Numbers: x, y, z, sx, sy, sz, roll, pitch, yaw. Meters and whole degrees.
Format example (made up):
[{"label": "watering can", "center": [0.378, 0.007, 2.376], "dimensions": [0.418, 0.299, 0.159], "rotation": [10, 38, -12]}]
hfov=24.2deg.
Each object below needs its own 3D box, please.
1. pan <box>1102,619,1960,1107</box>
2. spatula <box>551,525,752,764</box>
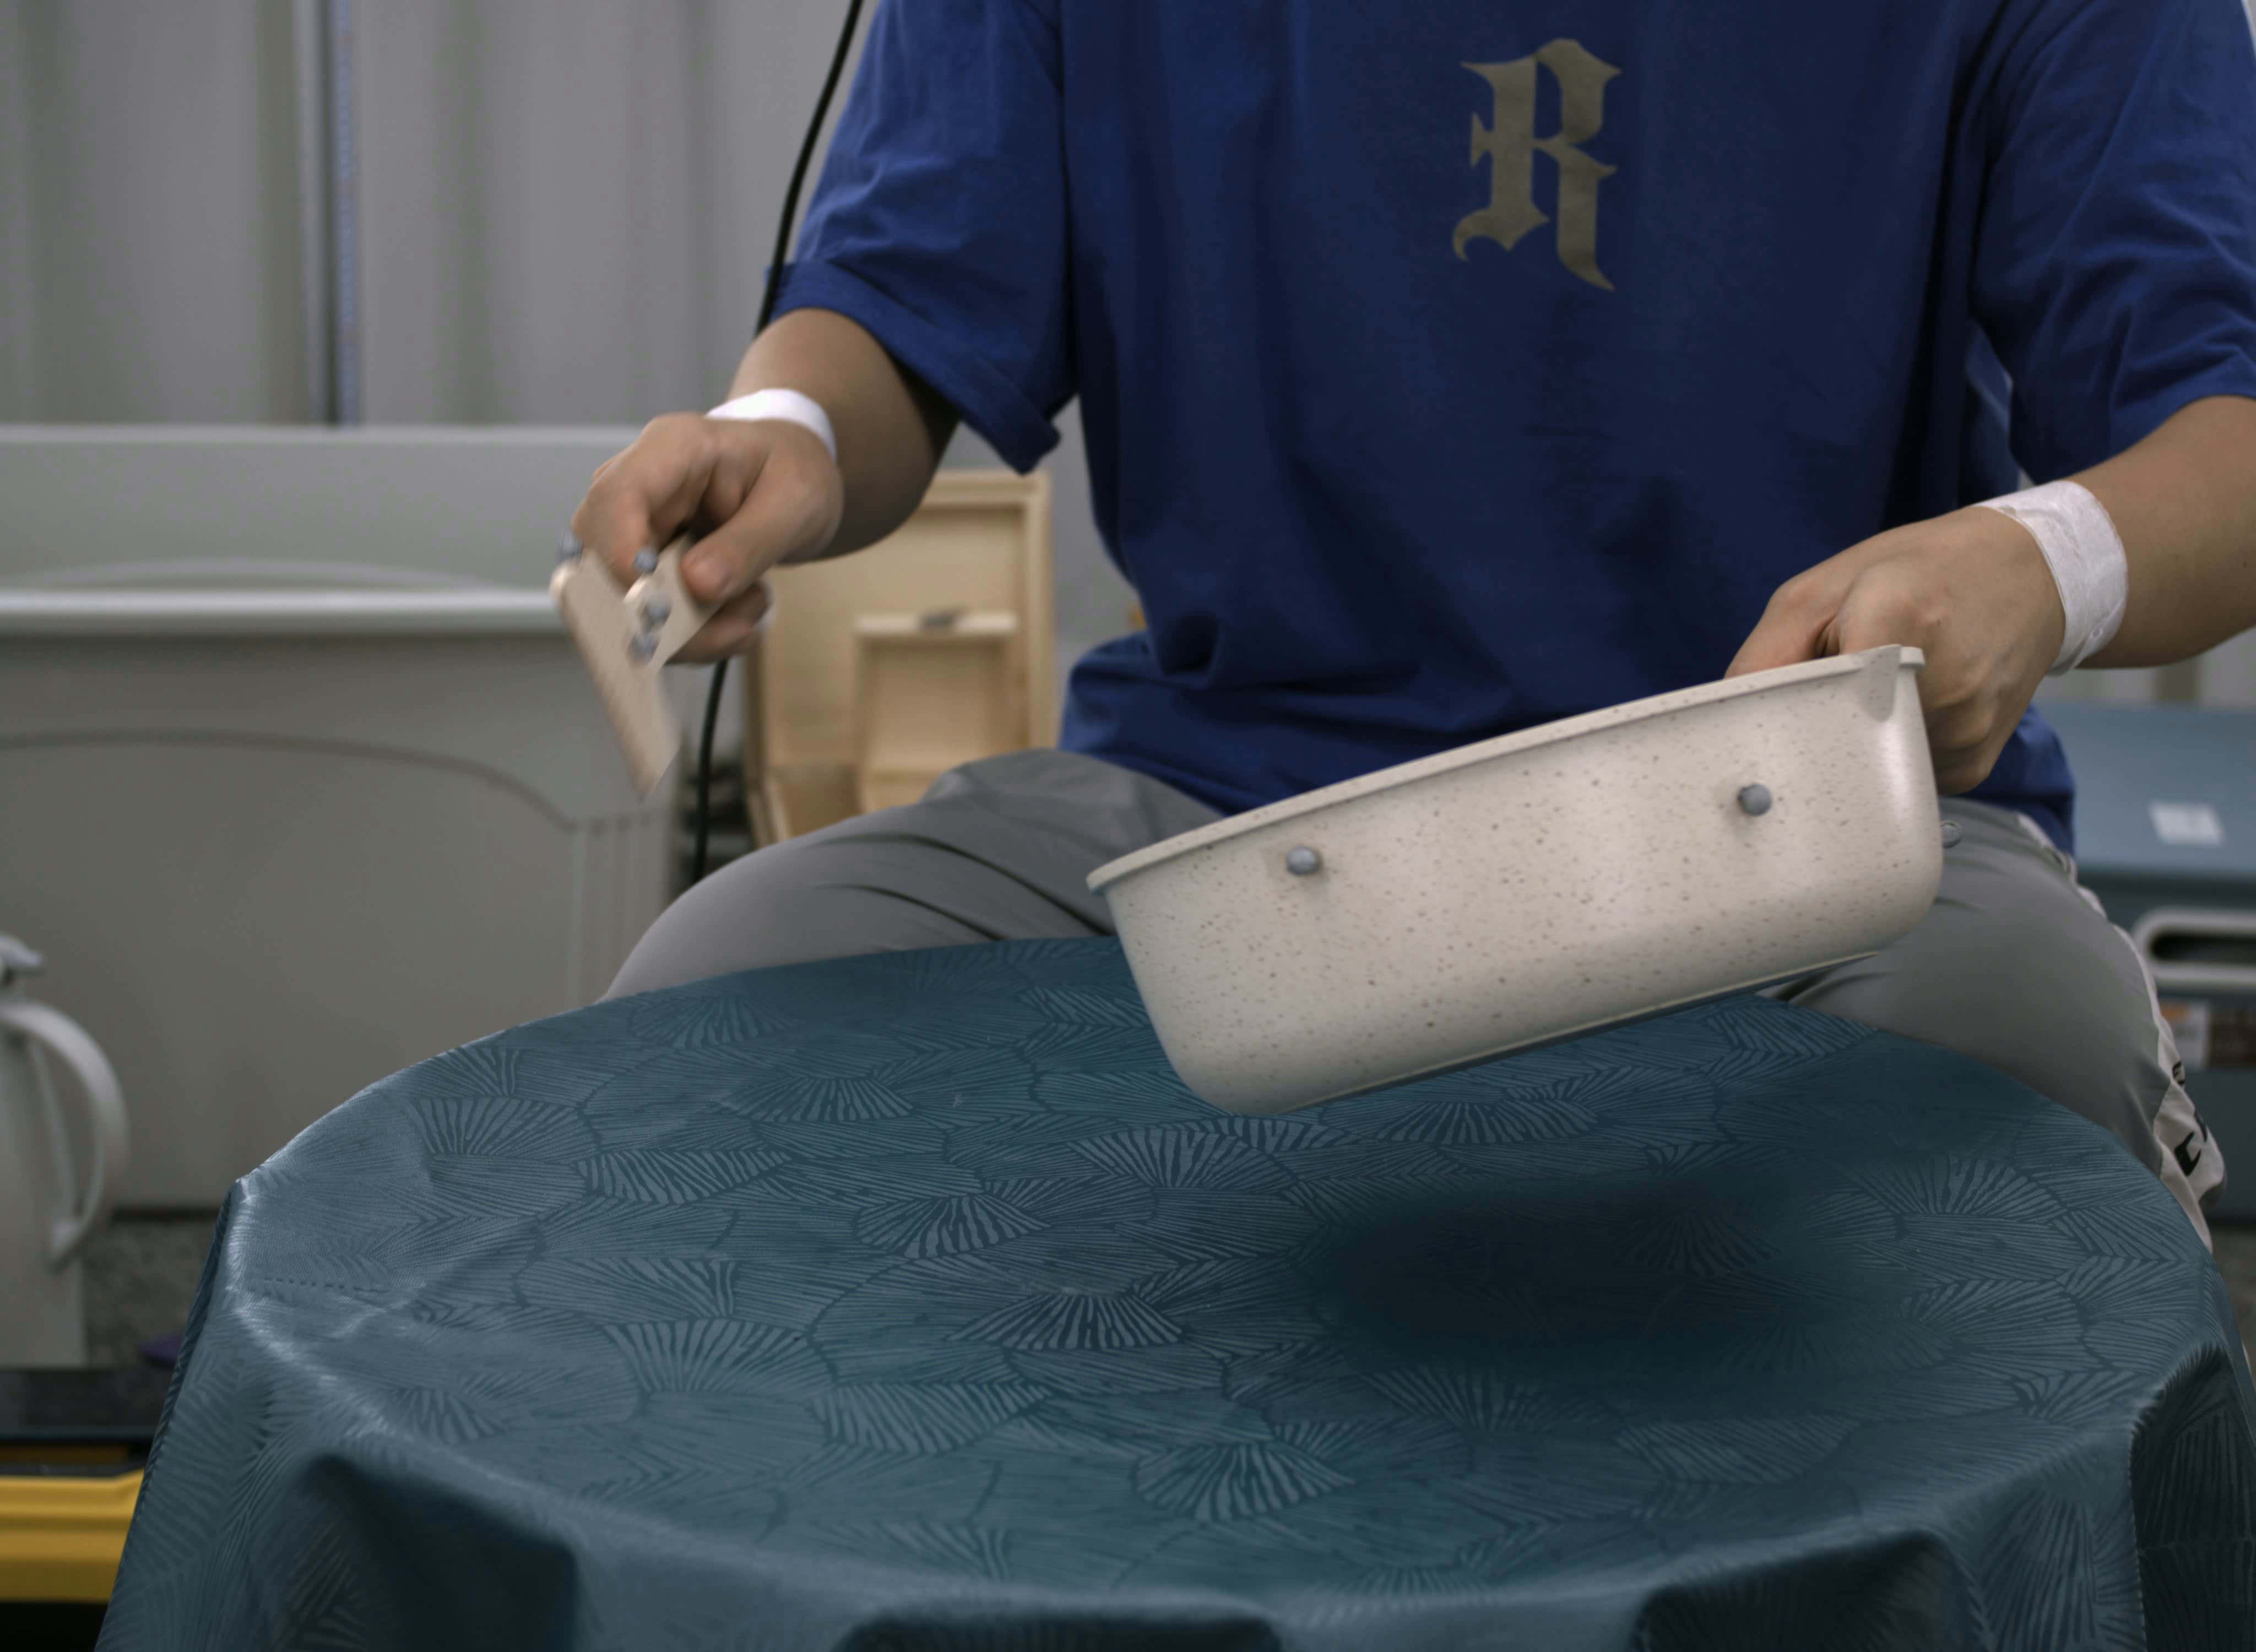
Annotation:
[{"label": "pan", "center": [0.169, 0.004, 1.601], "dimensions": [0.261, 0.102, 0.437], "rotation": [-19, -6, 31]}, {"label": "spatula", "center": [-0.149, -0.072, 1.713], "dimensions": [0.010, 0.072, 0.292], "rotation": [-28, 7, 7]}]
